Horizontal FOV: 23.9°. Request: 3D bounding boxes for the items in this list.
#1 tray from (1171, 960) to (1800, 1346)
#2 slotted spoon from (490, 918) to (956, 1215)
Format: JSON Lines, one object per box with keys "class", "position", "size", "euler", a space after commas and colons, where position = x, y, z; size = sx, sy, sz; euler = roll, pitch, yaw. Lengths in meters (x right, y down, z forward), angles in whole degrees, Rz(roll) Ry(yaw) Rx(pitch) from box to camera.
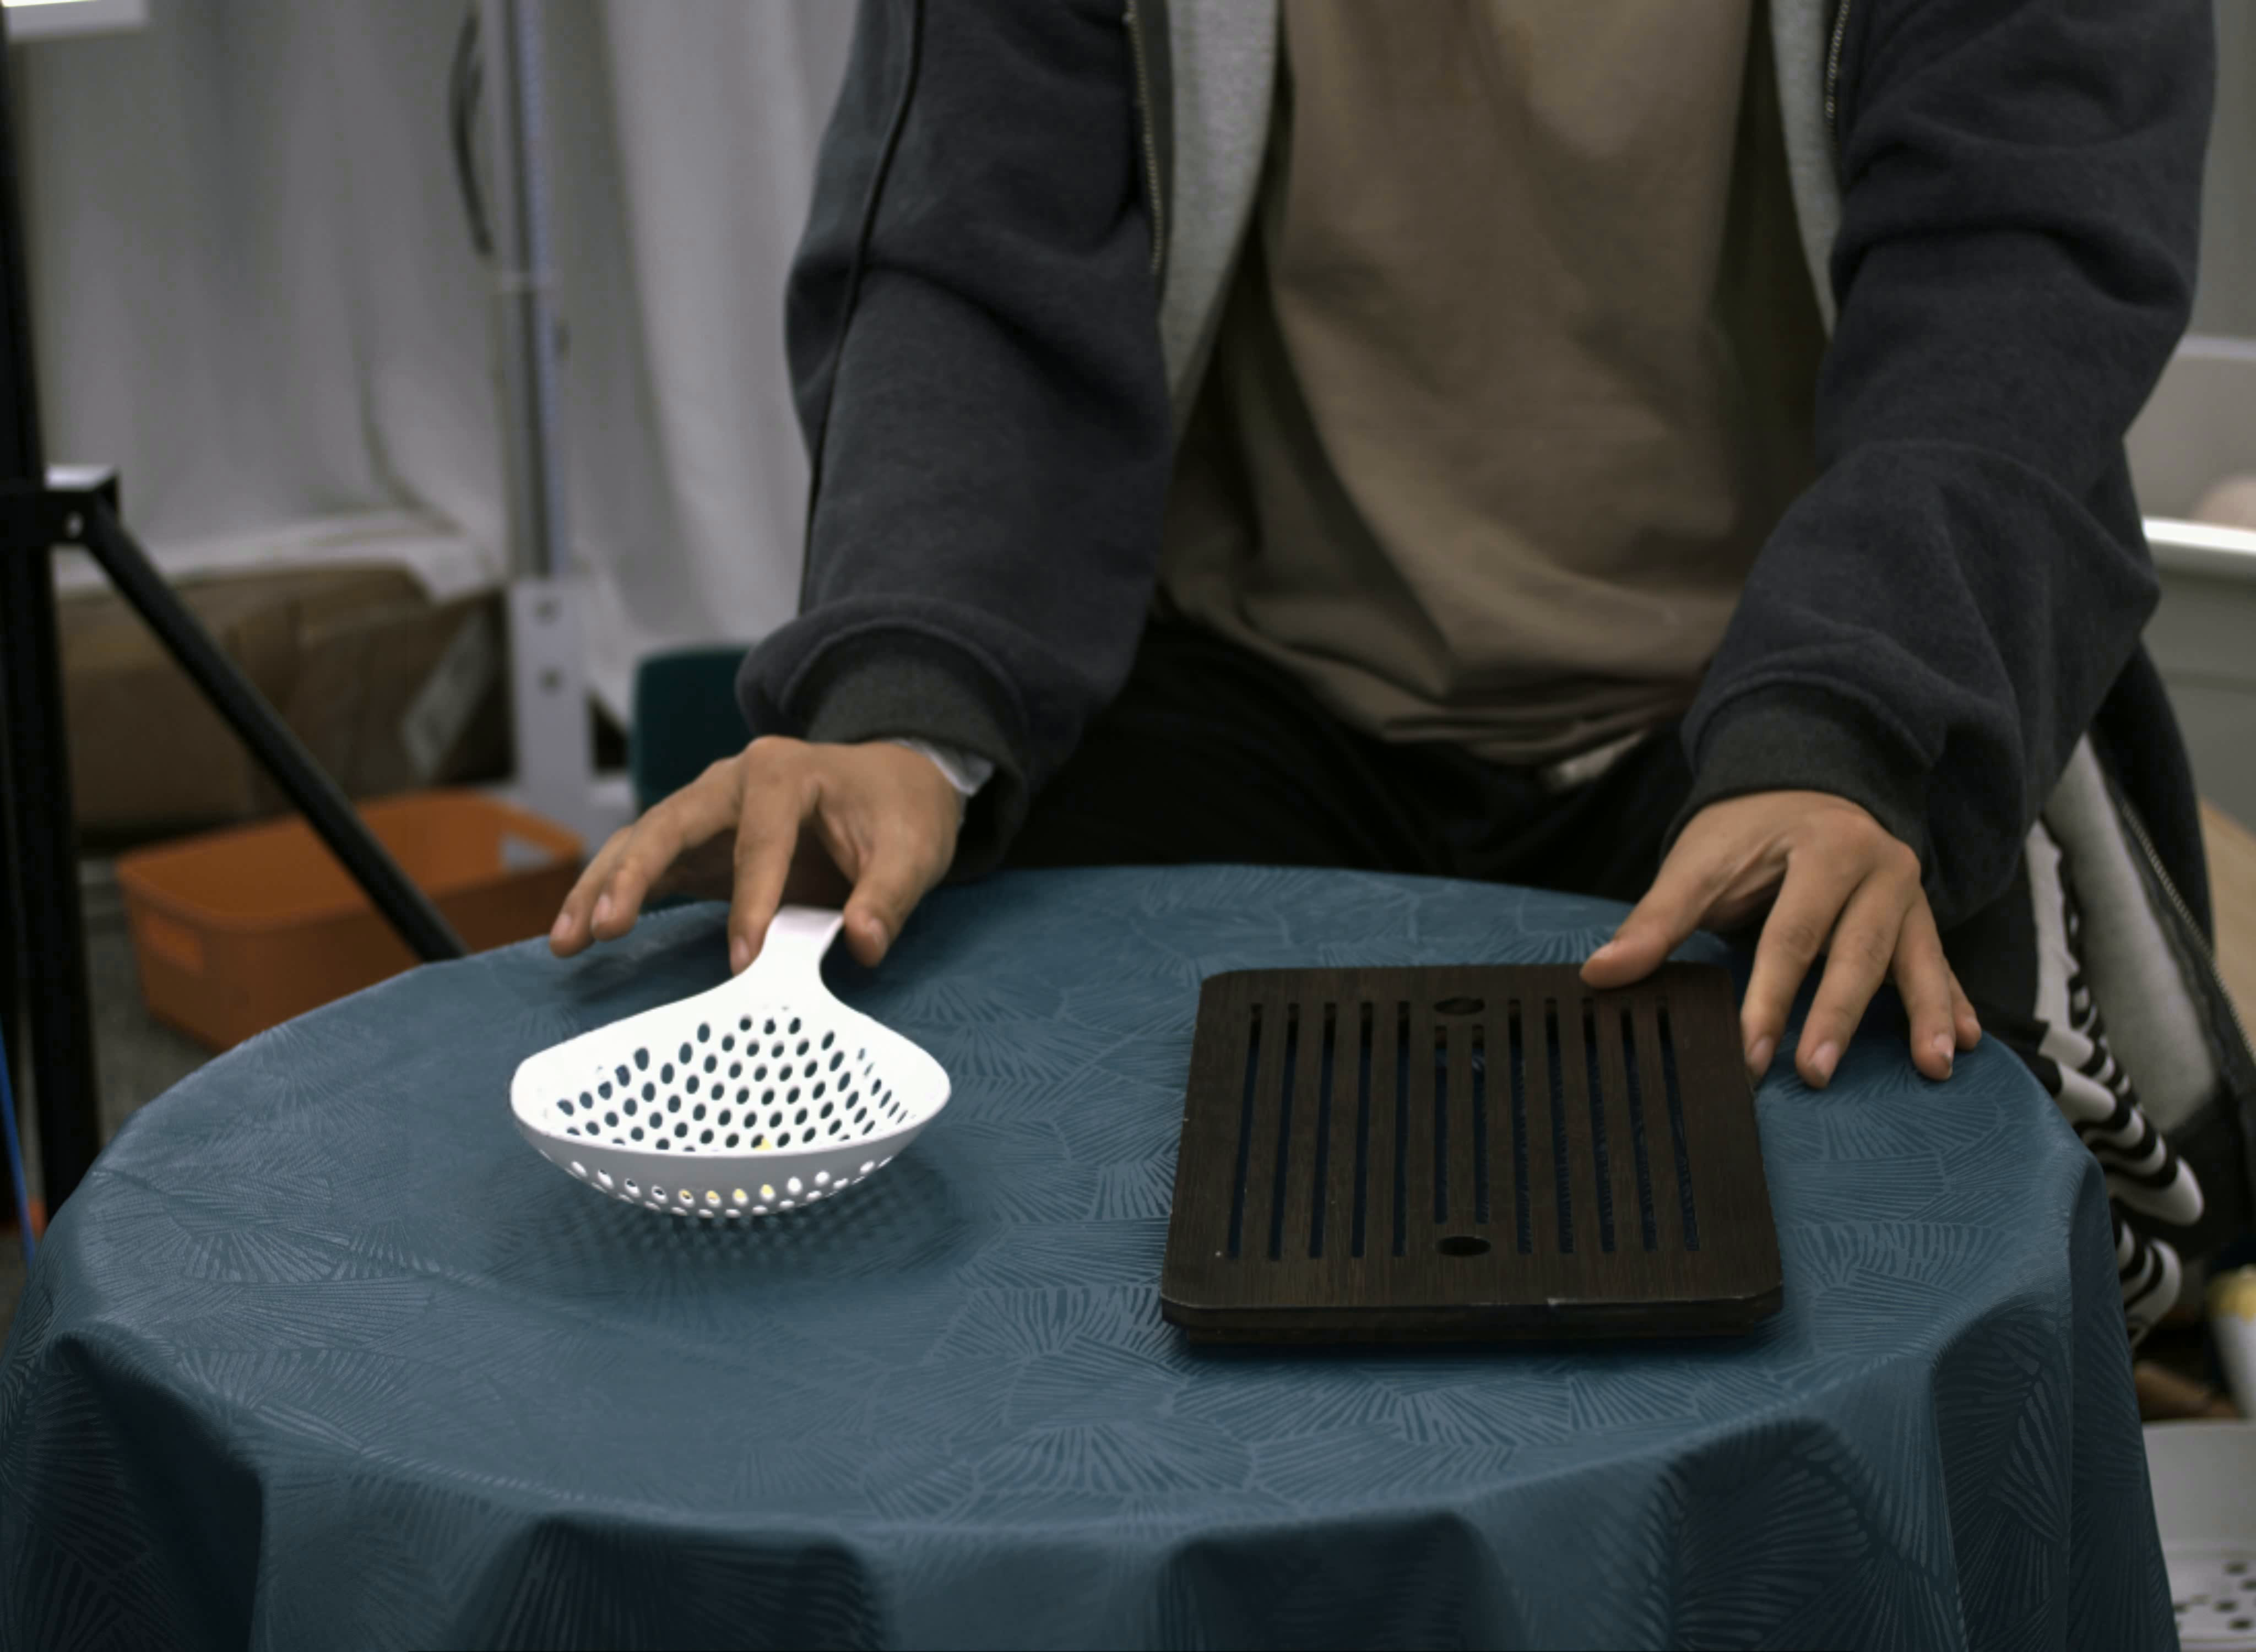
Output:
{"class": "tray", "position": [0.103, 0.094, 1.559], "size": [0.170, 0.018, 0.306], "euler": [-1, 16, 4]}
{"class": "slotted spoon", "position": [-0.113, 0.061, 1.668], "size": [0.136, 0.050, 0.348], "euler": [-1, 16, 3]}
